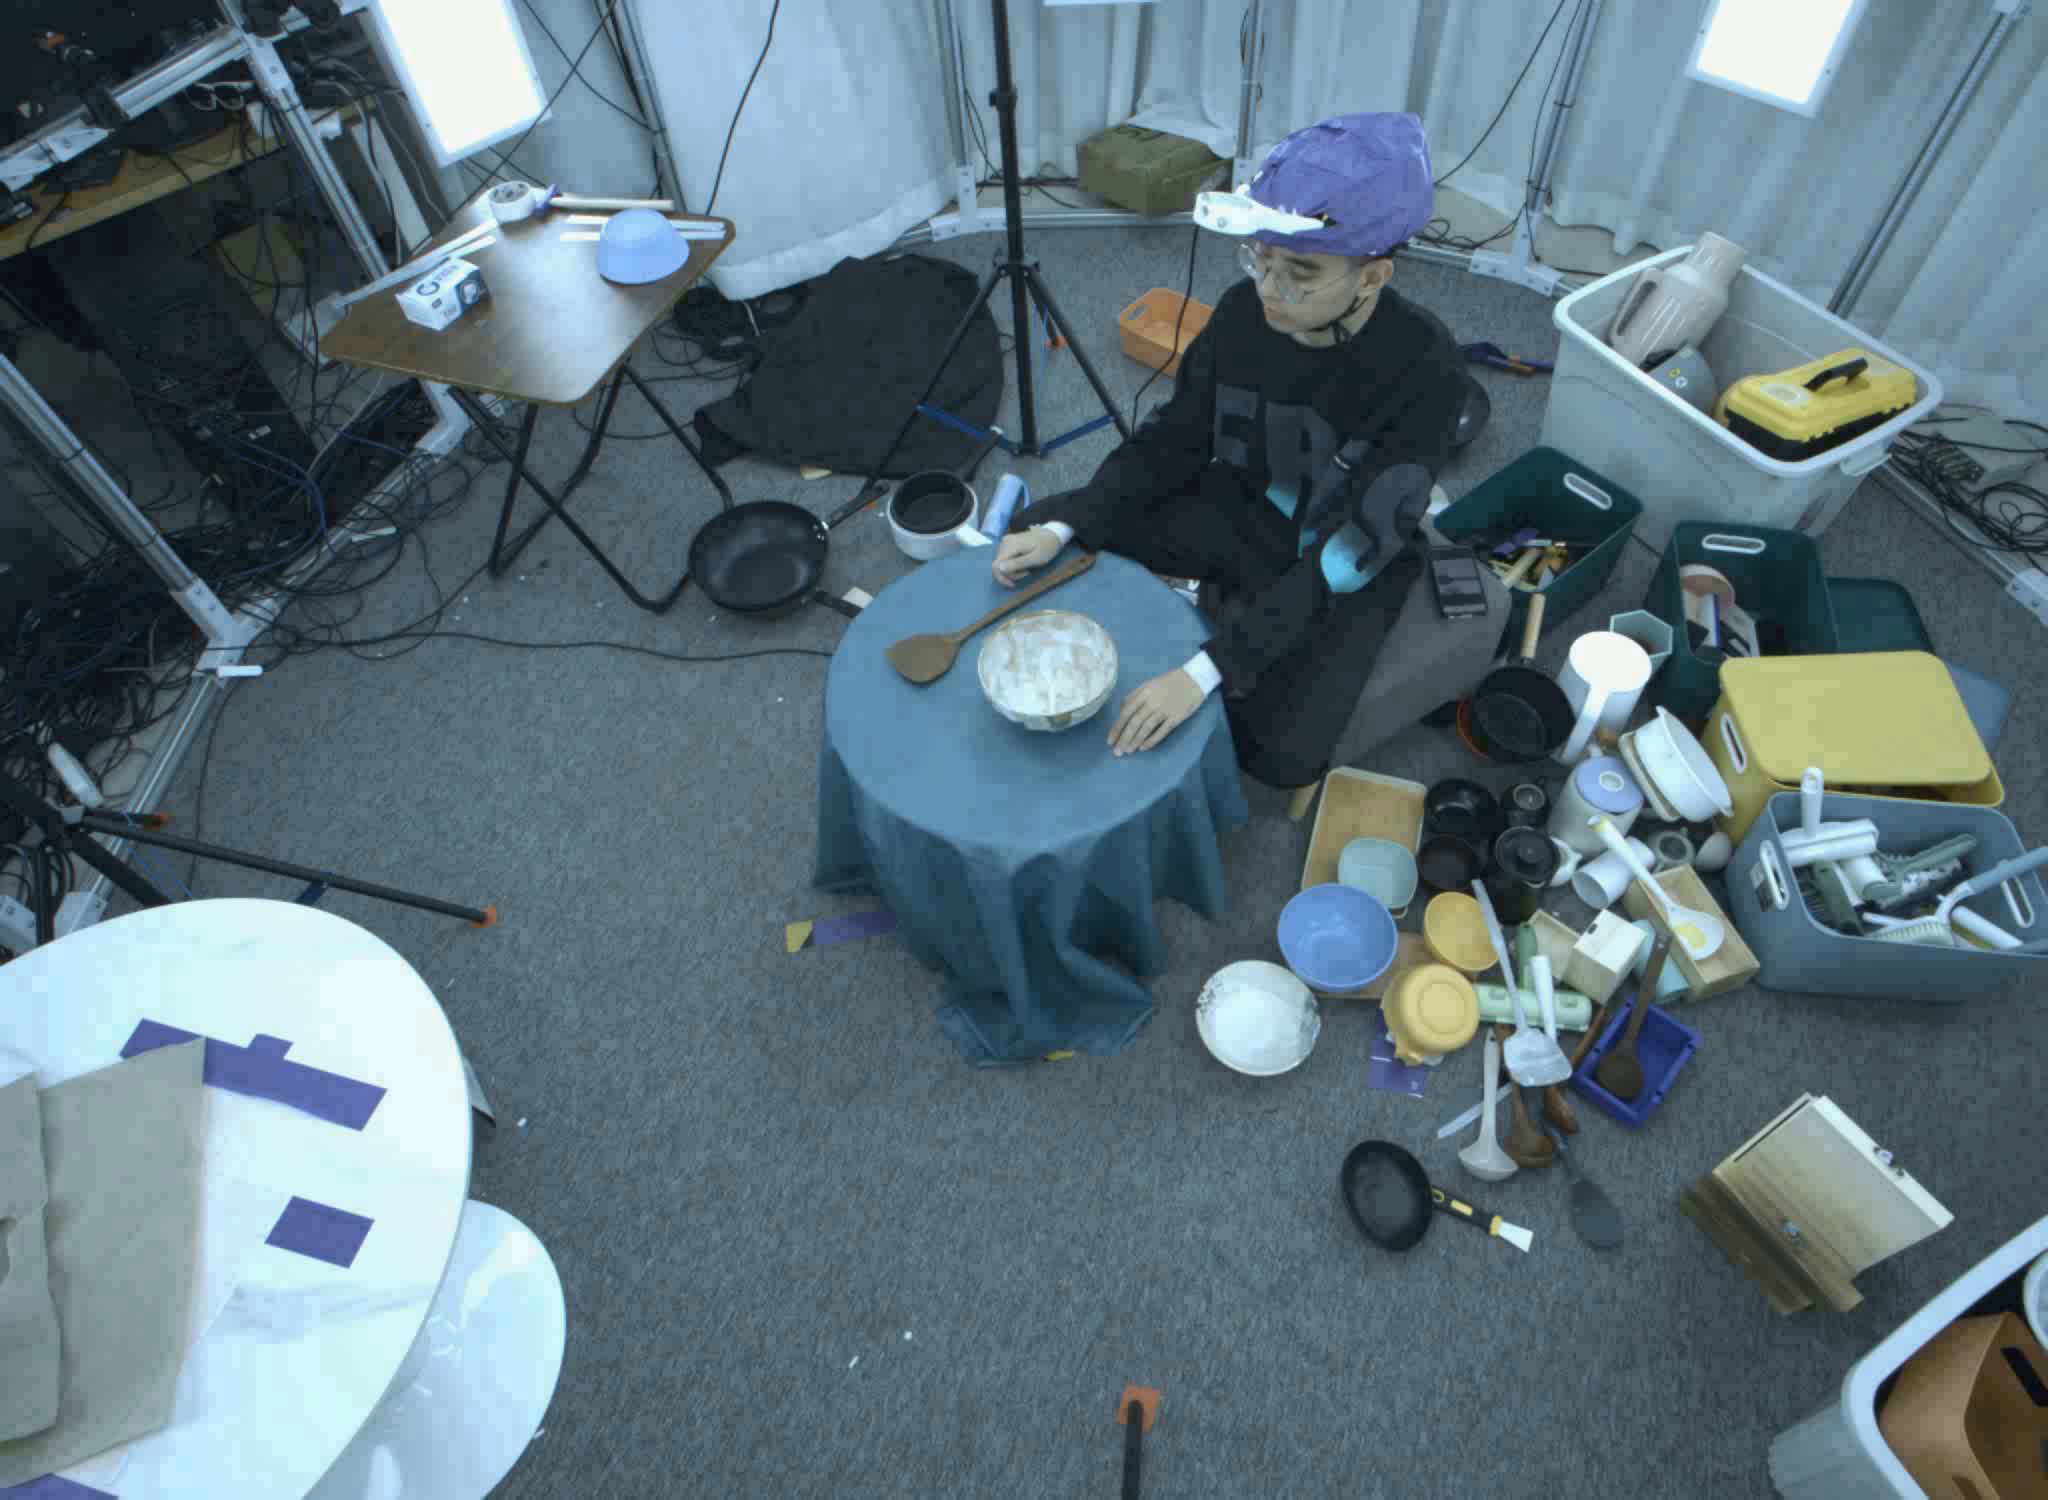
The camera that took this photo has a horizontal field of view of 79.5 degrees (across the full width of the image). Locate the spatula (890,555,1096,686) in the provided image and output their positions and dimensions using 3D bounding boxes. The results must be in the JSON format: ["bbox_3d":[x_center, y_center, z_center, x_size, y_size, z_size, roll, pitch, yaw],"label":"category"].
[{"bbox_3d":[-0.038,-0.216,1.942,0.389,0.016,0.094,-33,61,-20],"label":"spatula"}]

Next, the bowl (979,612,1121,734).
[{"bbox_3d":[0.042,-0.098,1.807,0.214,0.095,0.212,-1,53,2],"label":"bowl"}]
